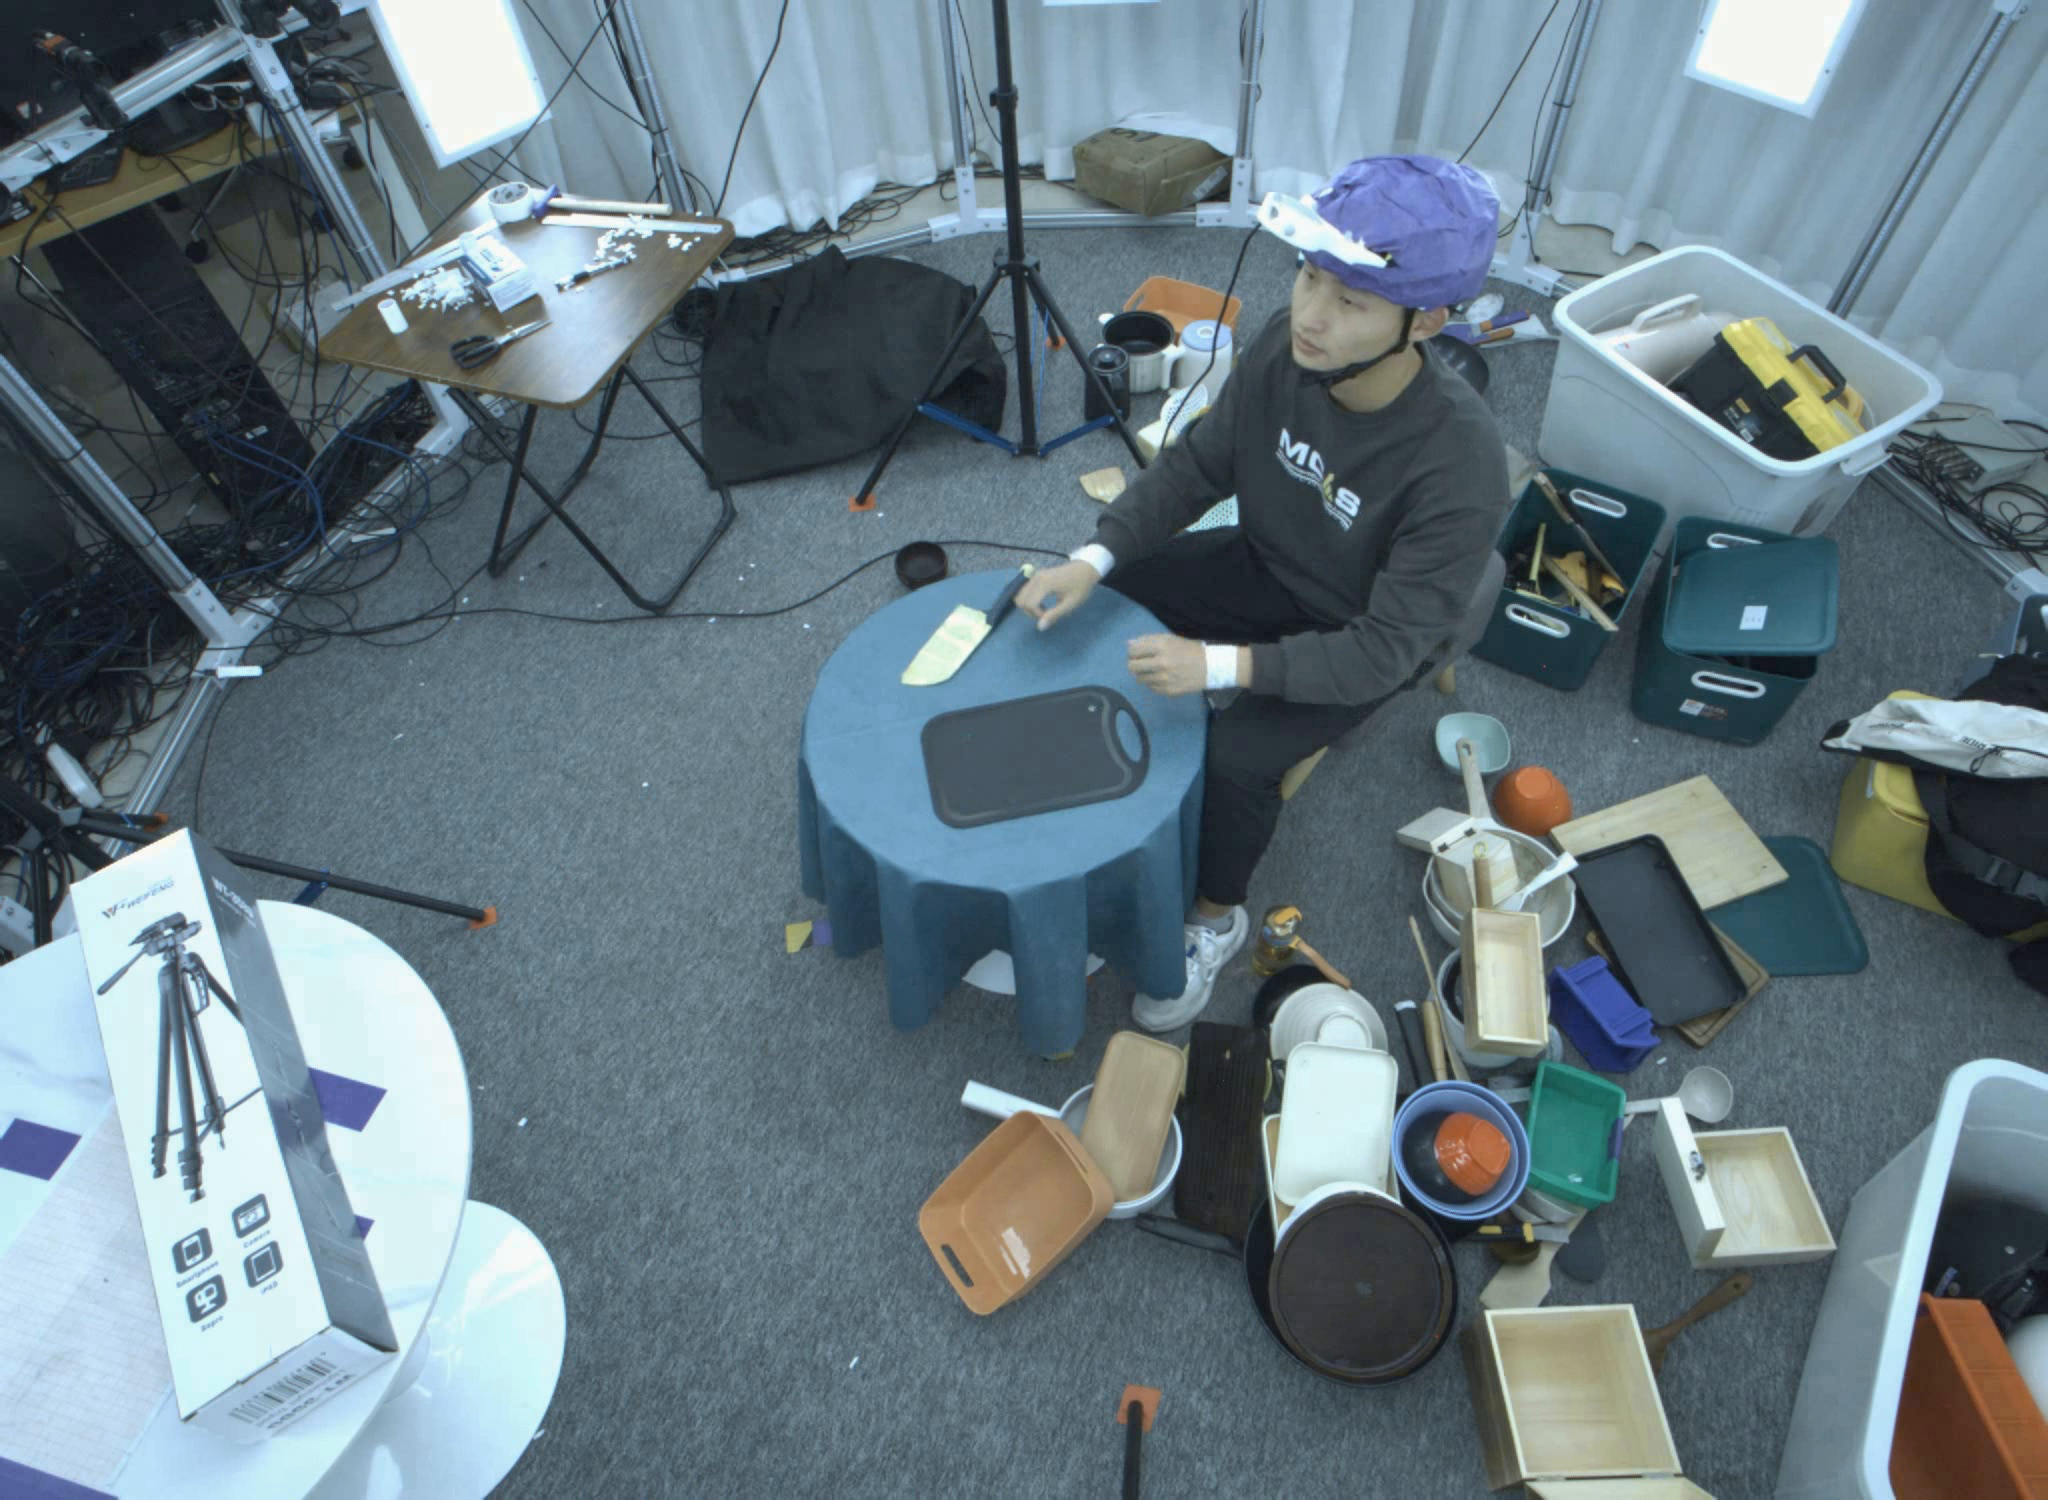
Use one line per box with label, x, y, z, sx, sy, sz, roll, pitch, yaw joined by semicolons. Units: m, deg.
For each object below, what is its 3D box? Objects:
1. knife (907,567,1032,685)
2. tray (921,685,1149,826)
knife;-0.085;-0.198;1.930;0.080;0.027;0.291;31;61;20
tray;0.018;0.001;1.789;0.327;0.010;0.208;-10;55;-6
